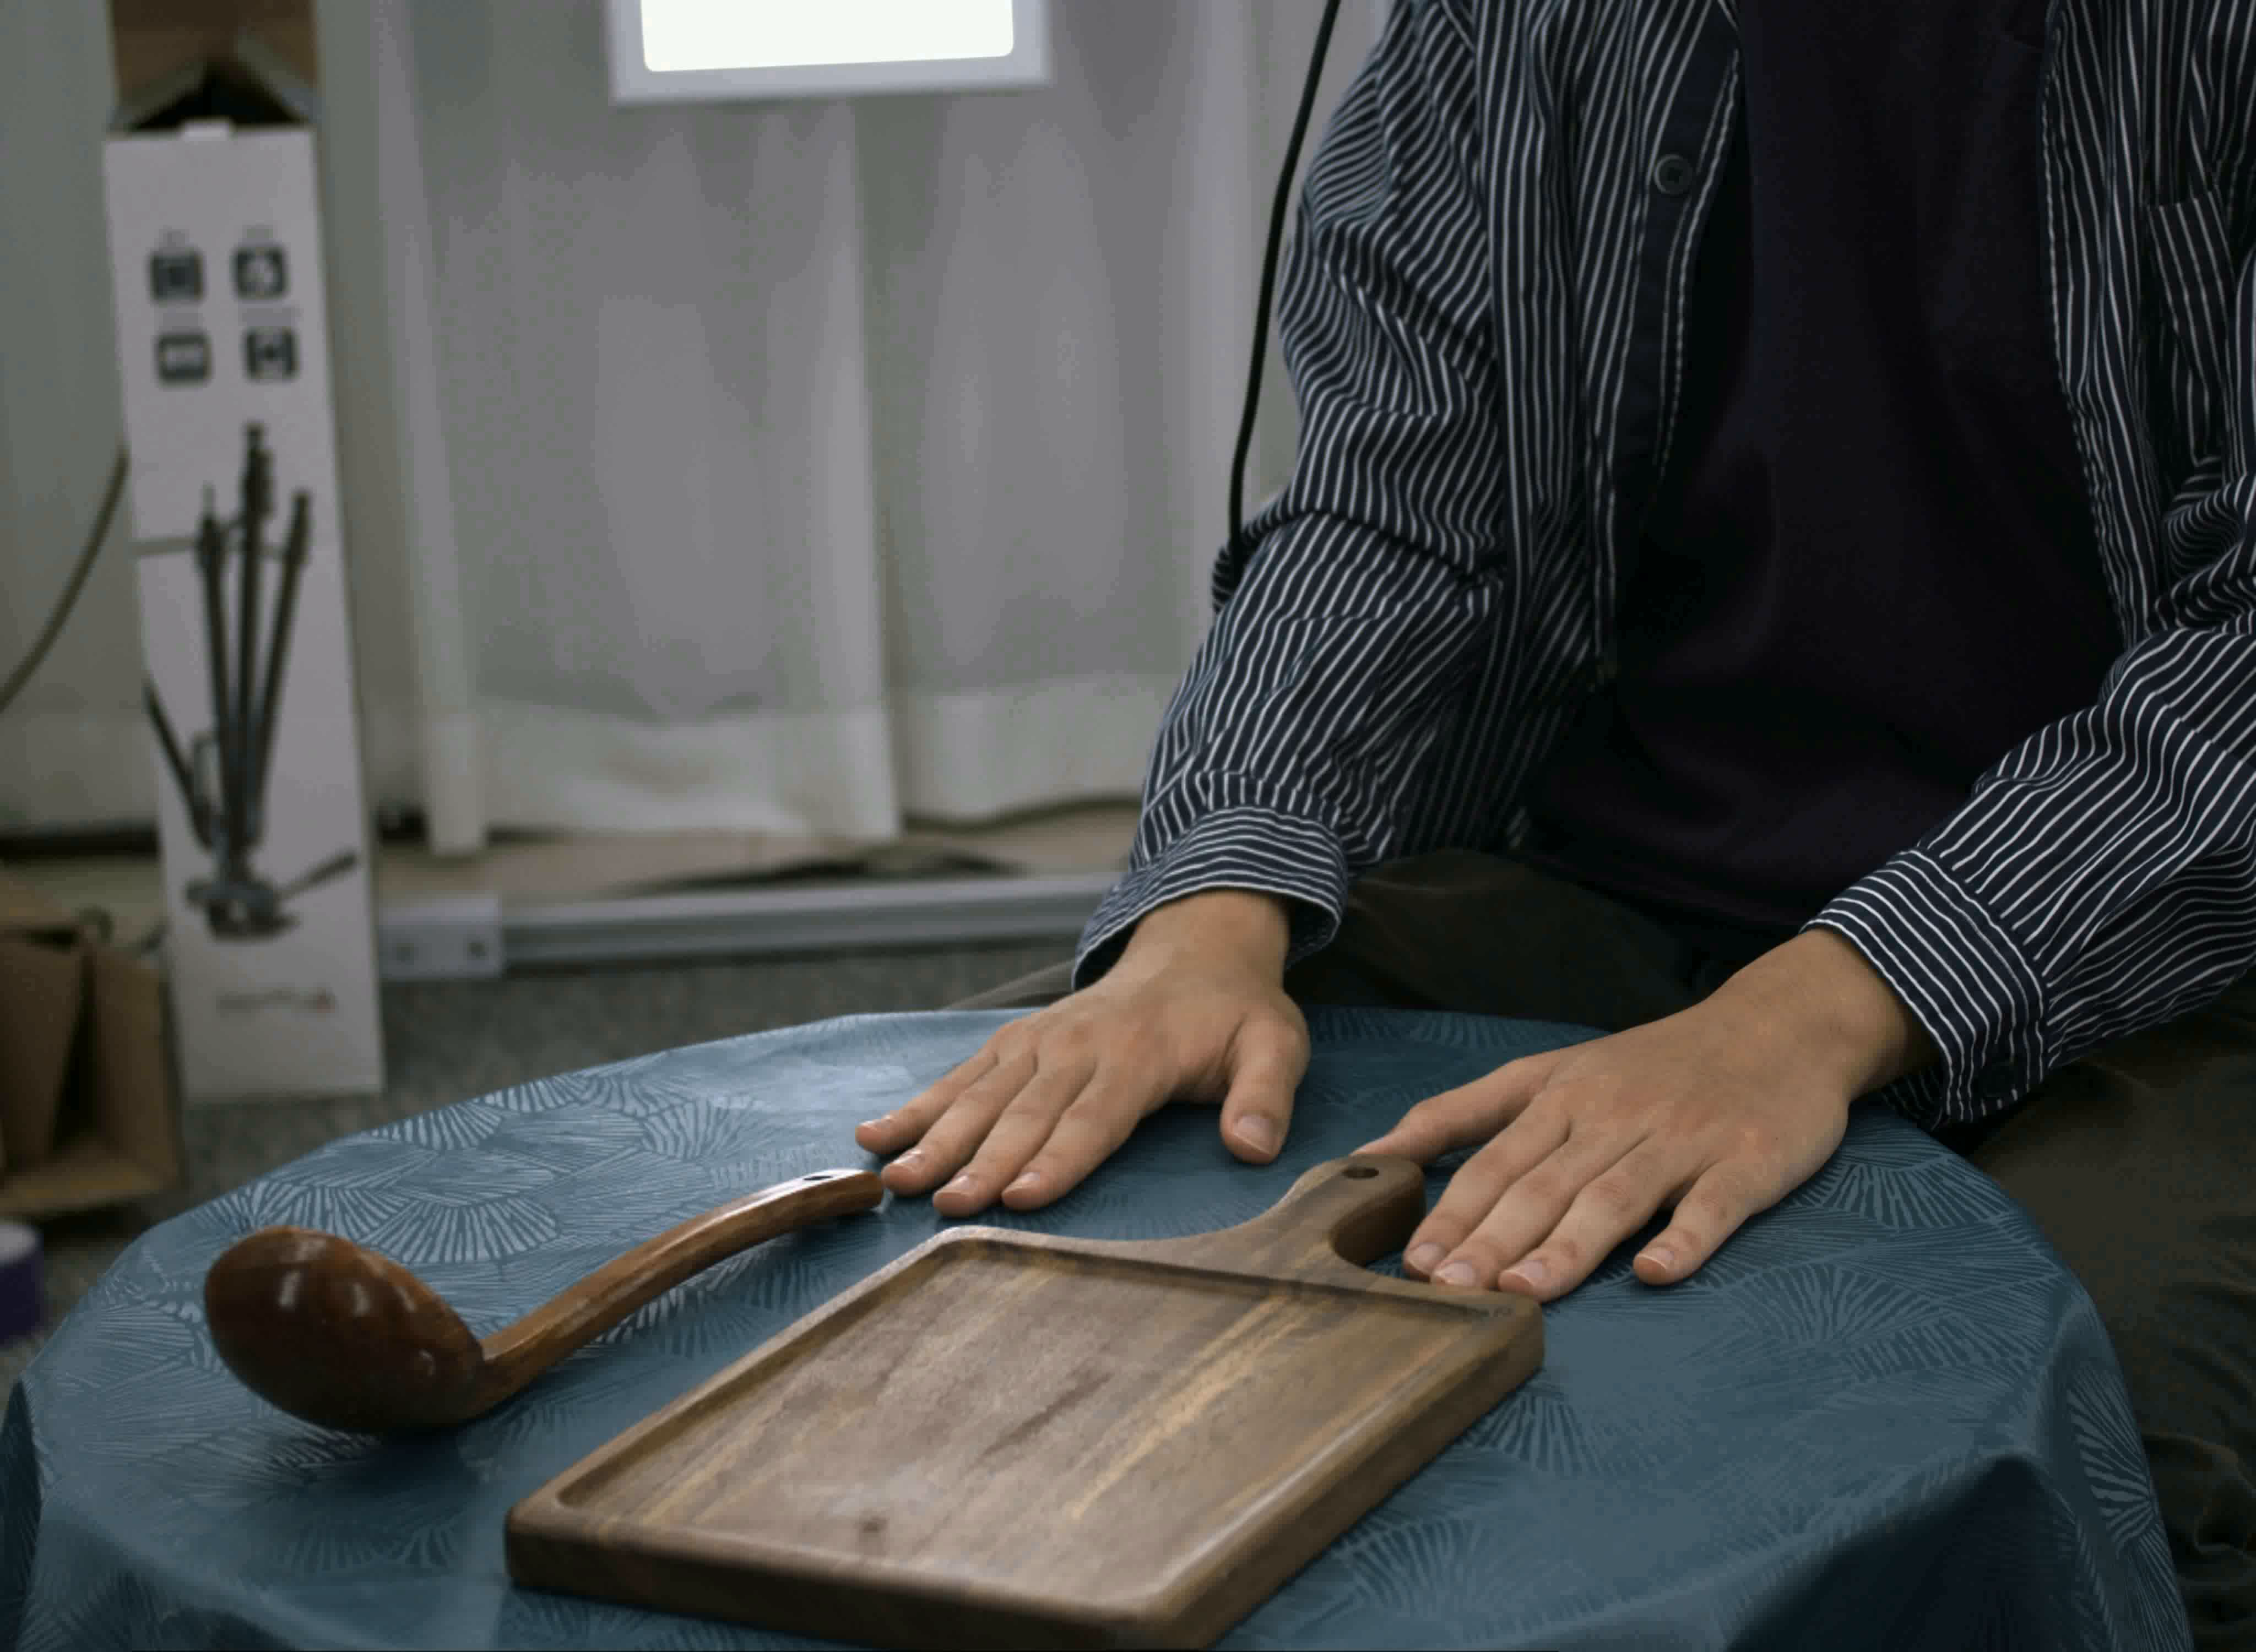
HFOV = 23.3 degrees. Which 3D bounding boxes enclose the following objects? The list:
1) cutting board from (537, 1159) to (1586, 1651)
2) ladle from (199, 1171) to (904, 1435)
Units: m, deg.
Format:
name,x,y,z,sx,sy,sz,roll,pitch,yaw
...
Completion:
name,x,y,z,sx,sy,sz,roll,pitch,yaw
cutting board,0.011,0.155,1.522,0.201,0.023,0.352,5,17,28
ladle,-0.161,0.115,1.601,0.082,0.076,0.274,2,15,35
